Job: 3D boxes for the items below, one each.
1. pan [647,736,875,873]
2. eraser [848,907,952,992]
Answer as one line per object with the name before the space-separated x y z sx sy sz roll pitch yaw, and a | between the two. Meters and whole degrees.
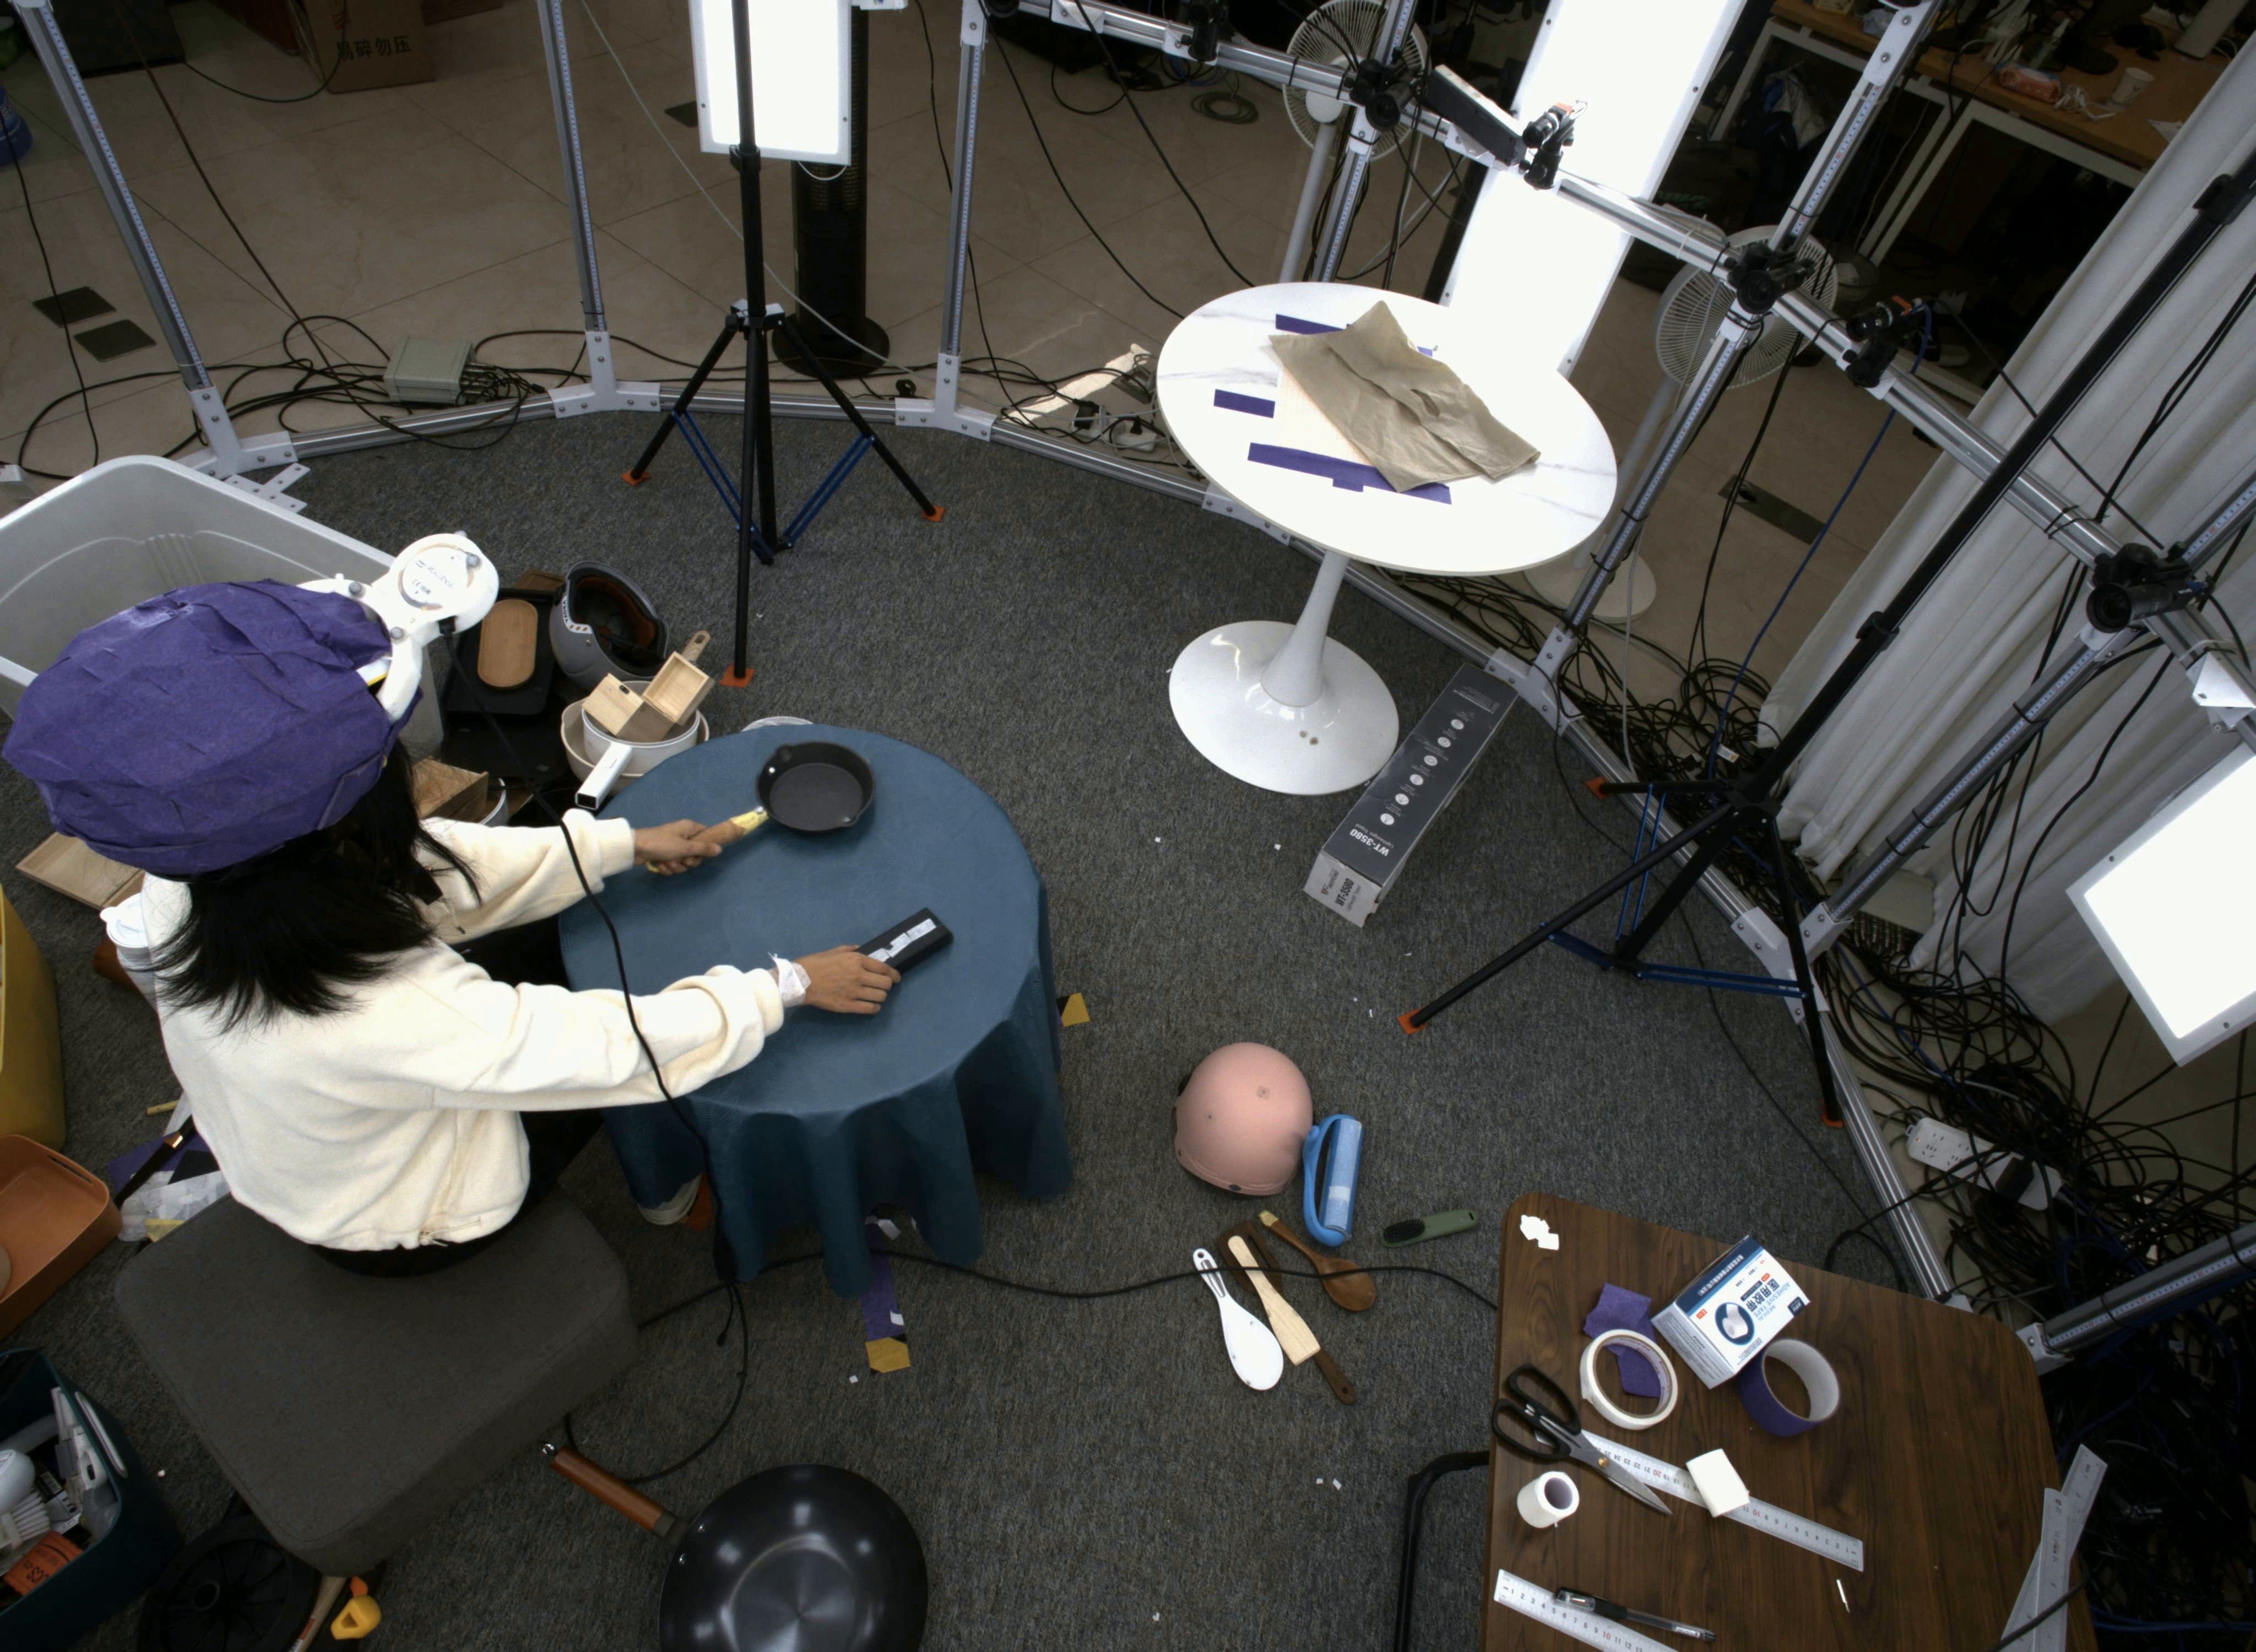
pan | -0.478 -0.017 1.683 0.325 0.050 0.165 -31 66 -32
eraser | -0.284 0.151 1.626 0.126 0.031 0.052 -32 67 -31
